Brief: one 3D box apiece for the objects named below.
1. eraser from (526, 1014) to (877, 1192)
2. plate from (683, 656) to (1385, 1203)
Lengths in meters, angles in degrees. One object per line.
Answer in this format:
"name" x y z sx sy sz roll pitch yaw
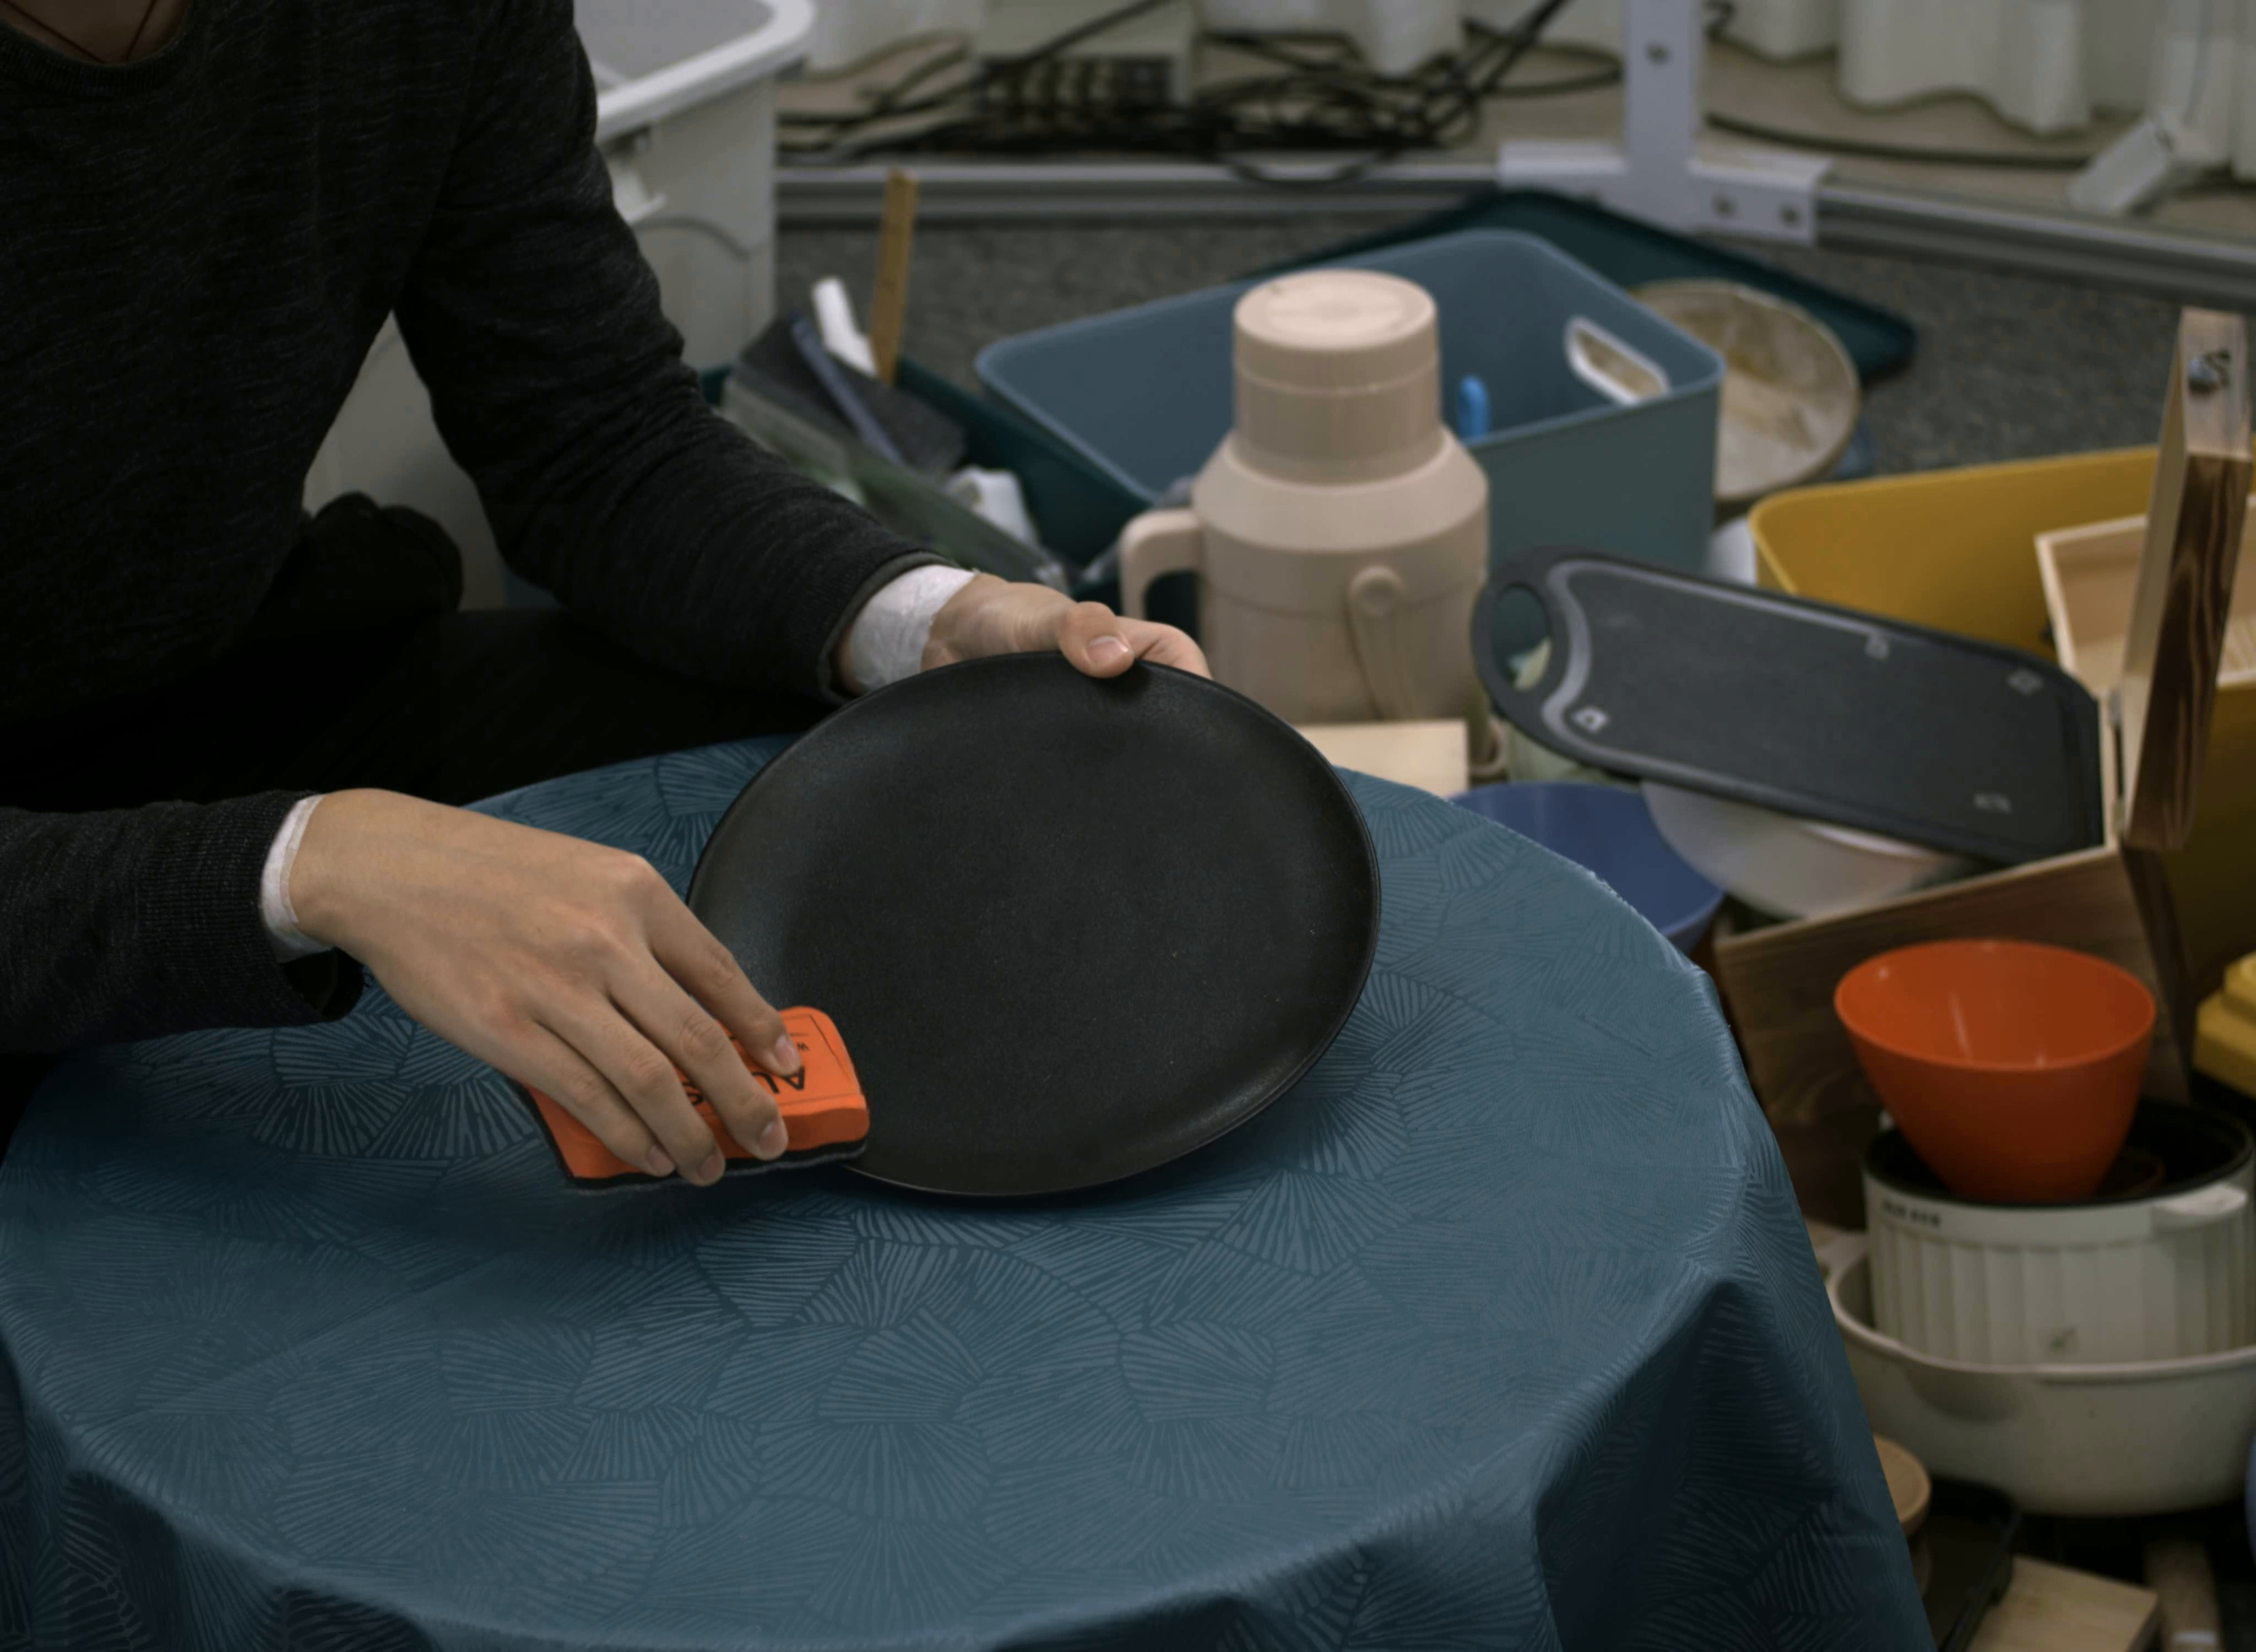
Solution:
"eraser" -0.141 0.091 1.859 0.108 0.022 0.059 -5 35 -24
"plate" -0.032 0.037 1.936 0.243 0.023 0.249 -3 48 4
